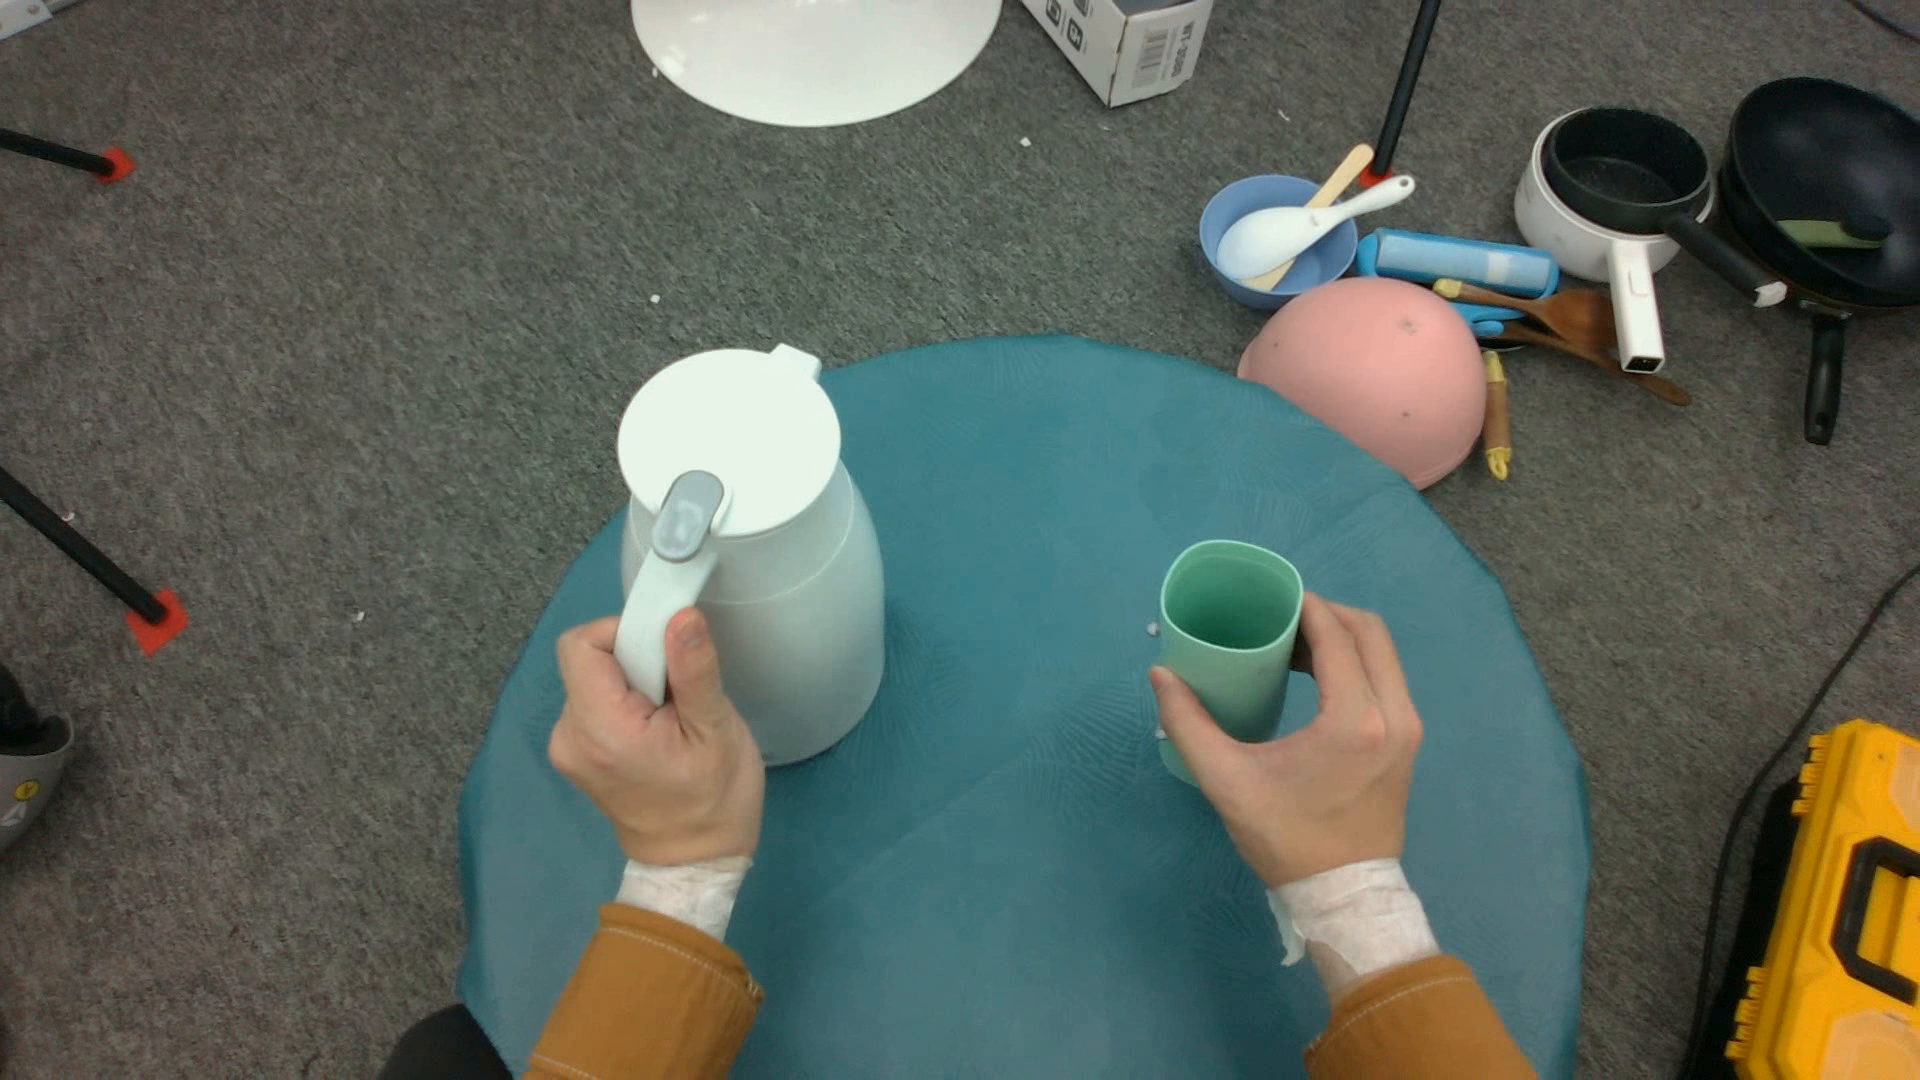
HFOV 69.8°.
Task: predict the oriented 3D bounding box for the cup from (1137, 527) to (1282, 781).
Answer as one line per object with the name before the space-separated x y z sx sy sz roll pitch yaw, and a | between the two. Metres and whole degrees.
cup | 0.122 0.060 0.682 0.067 0.132 0.067 -3 51 4

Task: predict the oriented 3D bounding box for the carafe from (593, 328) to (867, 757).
carafe | -0.117 0.020 0.664 0.132 0.247 0.168 22 64 6
